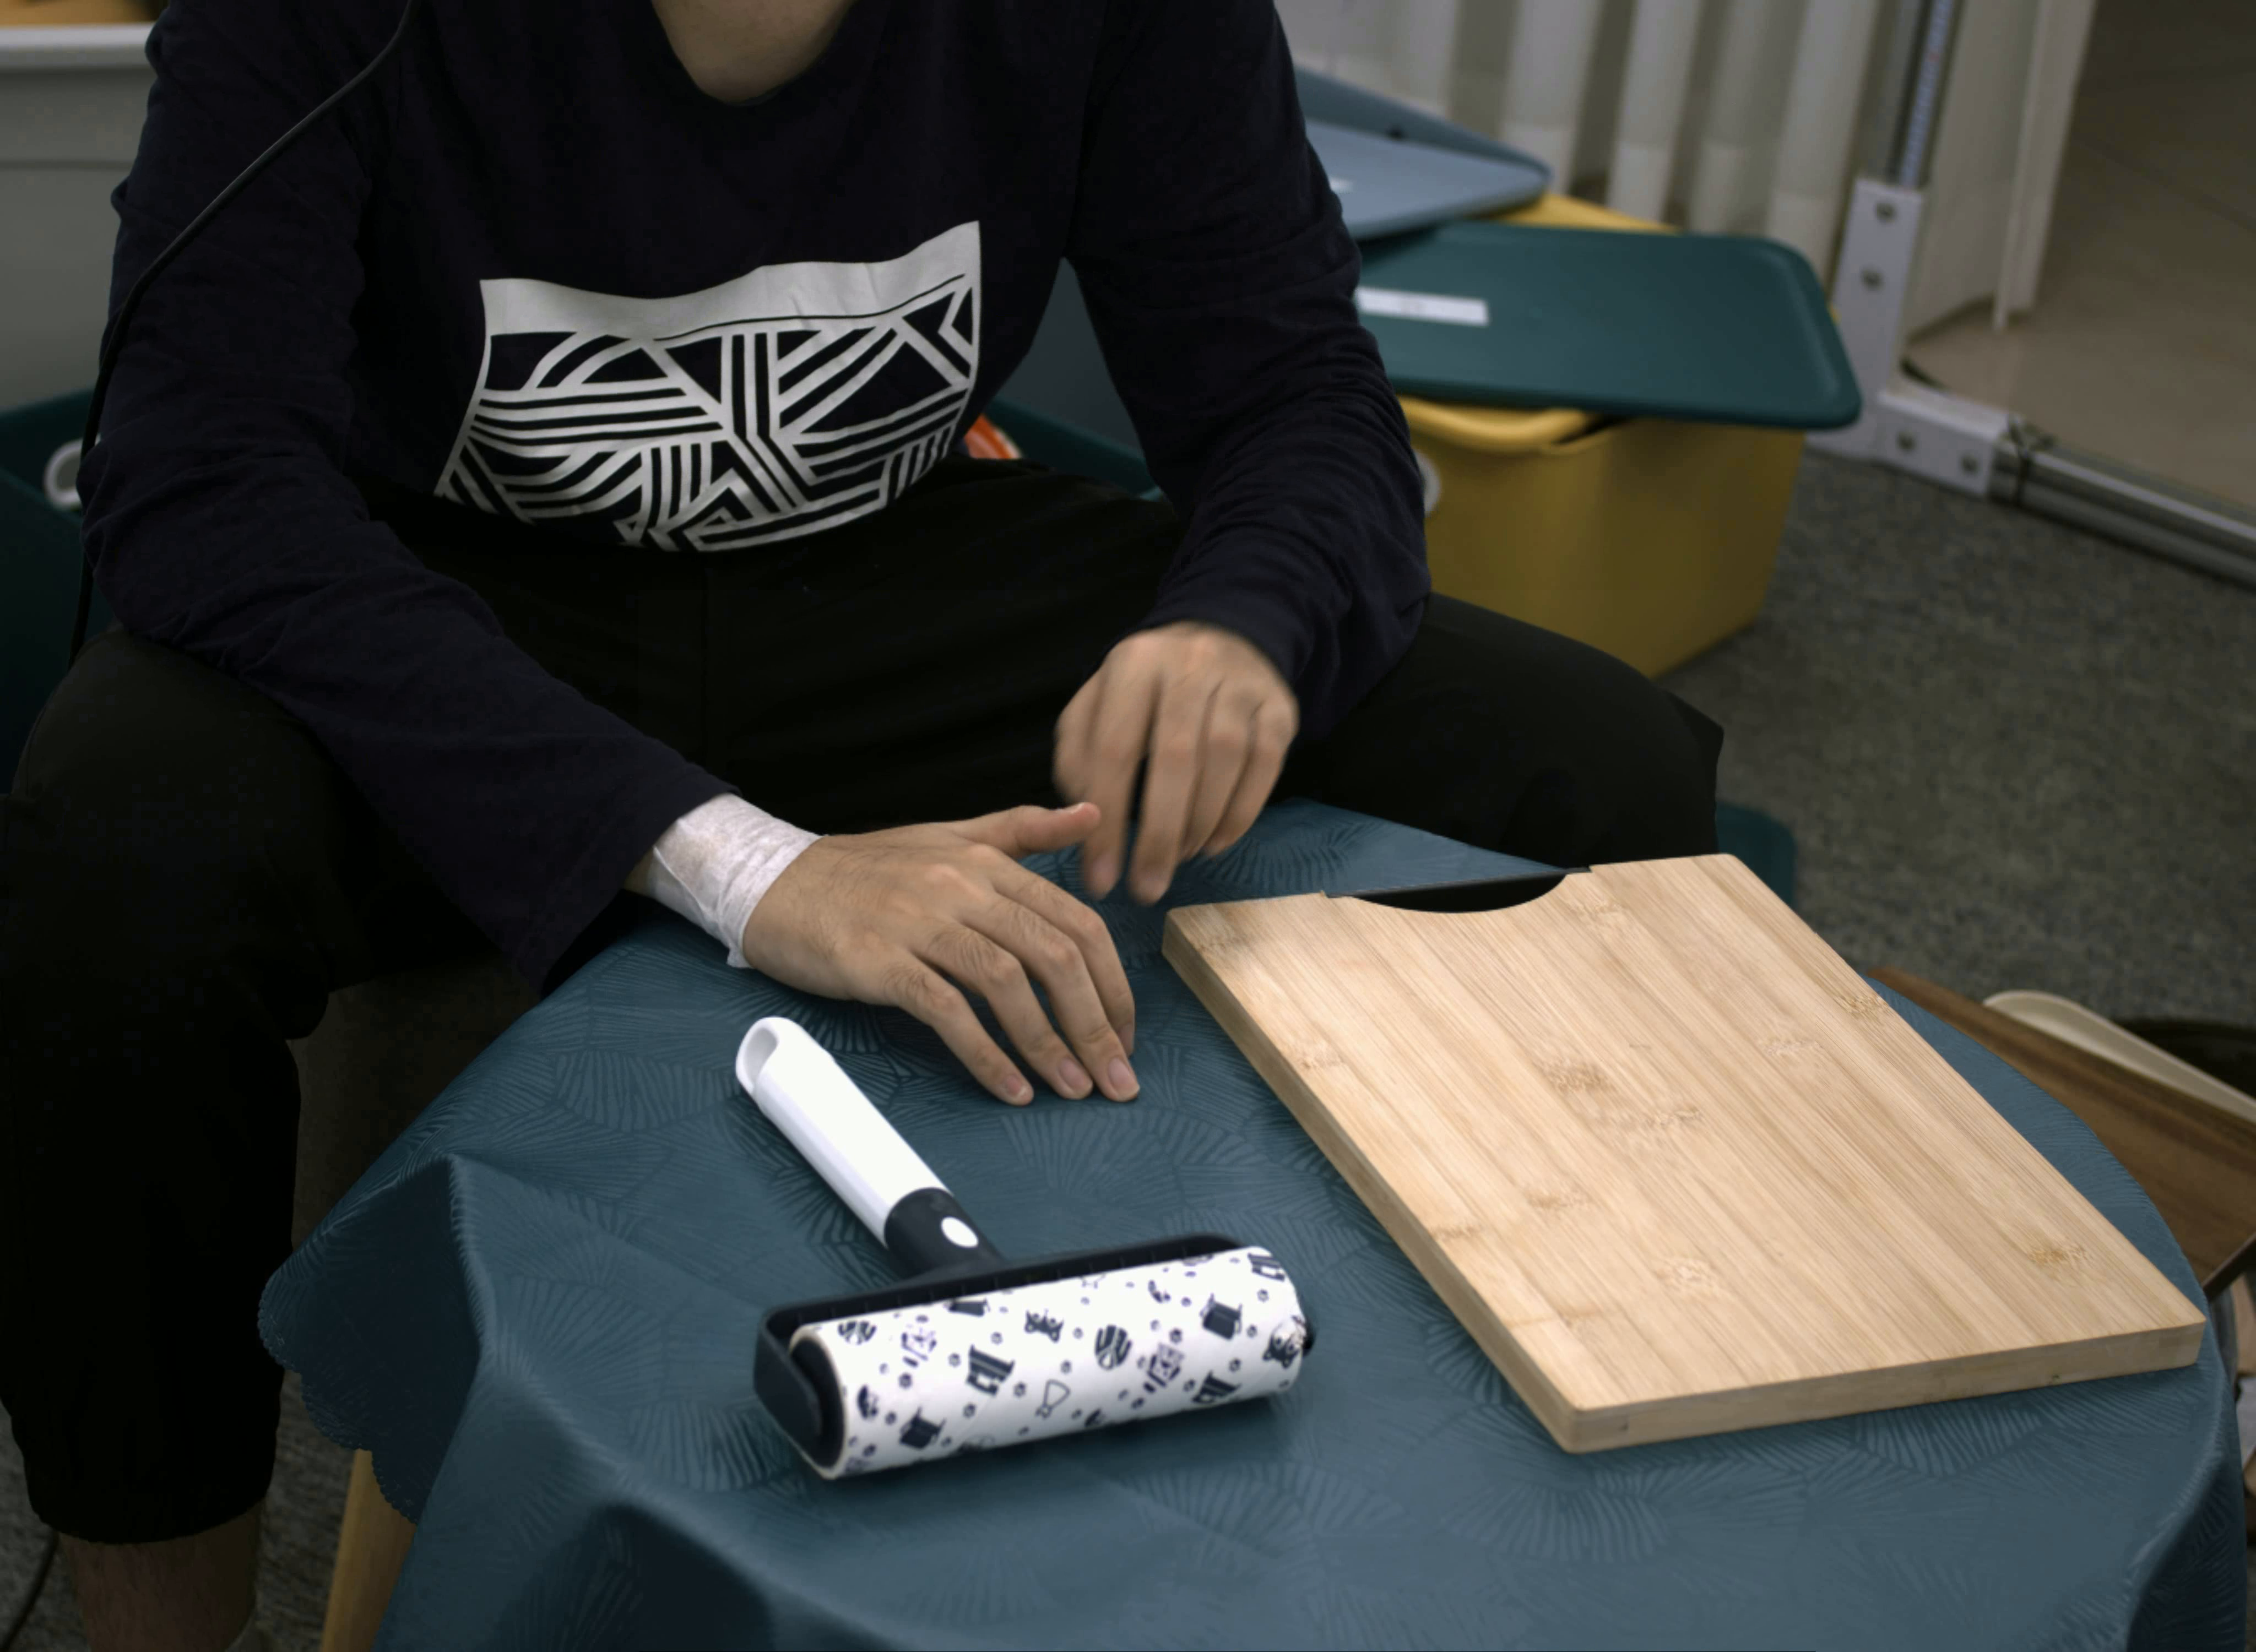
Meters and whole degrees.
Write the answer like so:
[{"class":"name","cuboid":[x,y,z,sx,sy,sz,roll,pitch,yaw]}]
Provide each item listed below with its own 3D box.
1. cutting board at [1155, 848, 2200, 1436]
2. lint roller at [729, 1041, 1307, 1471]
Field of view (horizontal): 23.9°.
[{"class":"cutting board","cuboid":[0.183,0.104,1.869,0.249,0.023,0.352,-5,29,-23]},{"class":"lint roller","cuboid":[-0.075,0.124,1.743,0.175,0.050,0.249,-9,28,-27]}]
